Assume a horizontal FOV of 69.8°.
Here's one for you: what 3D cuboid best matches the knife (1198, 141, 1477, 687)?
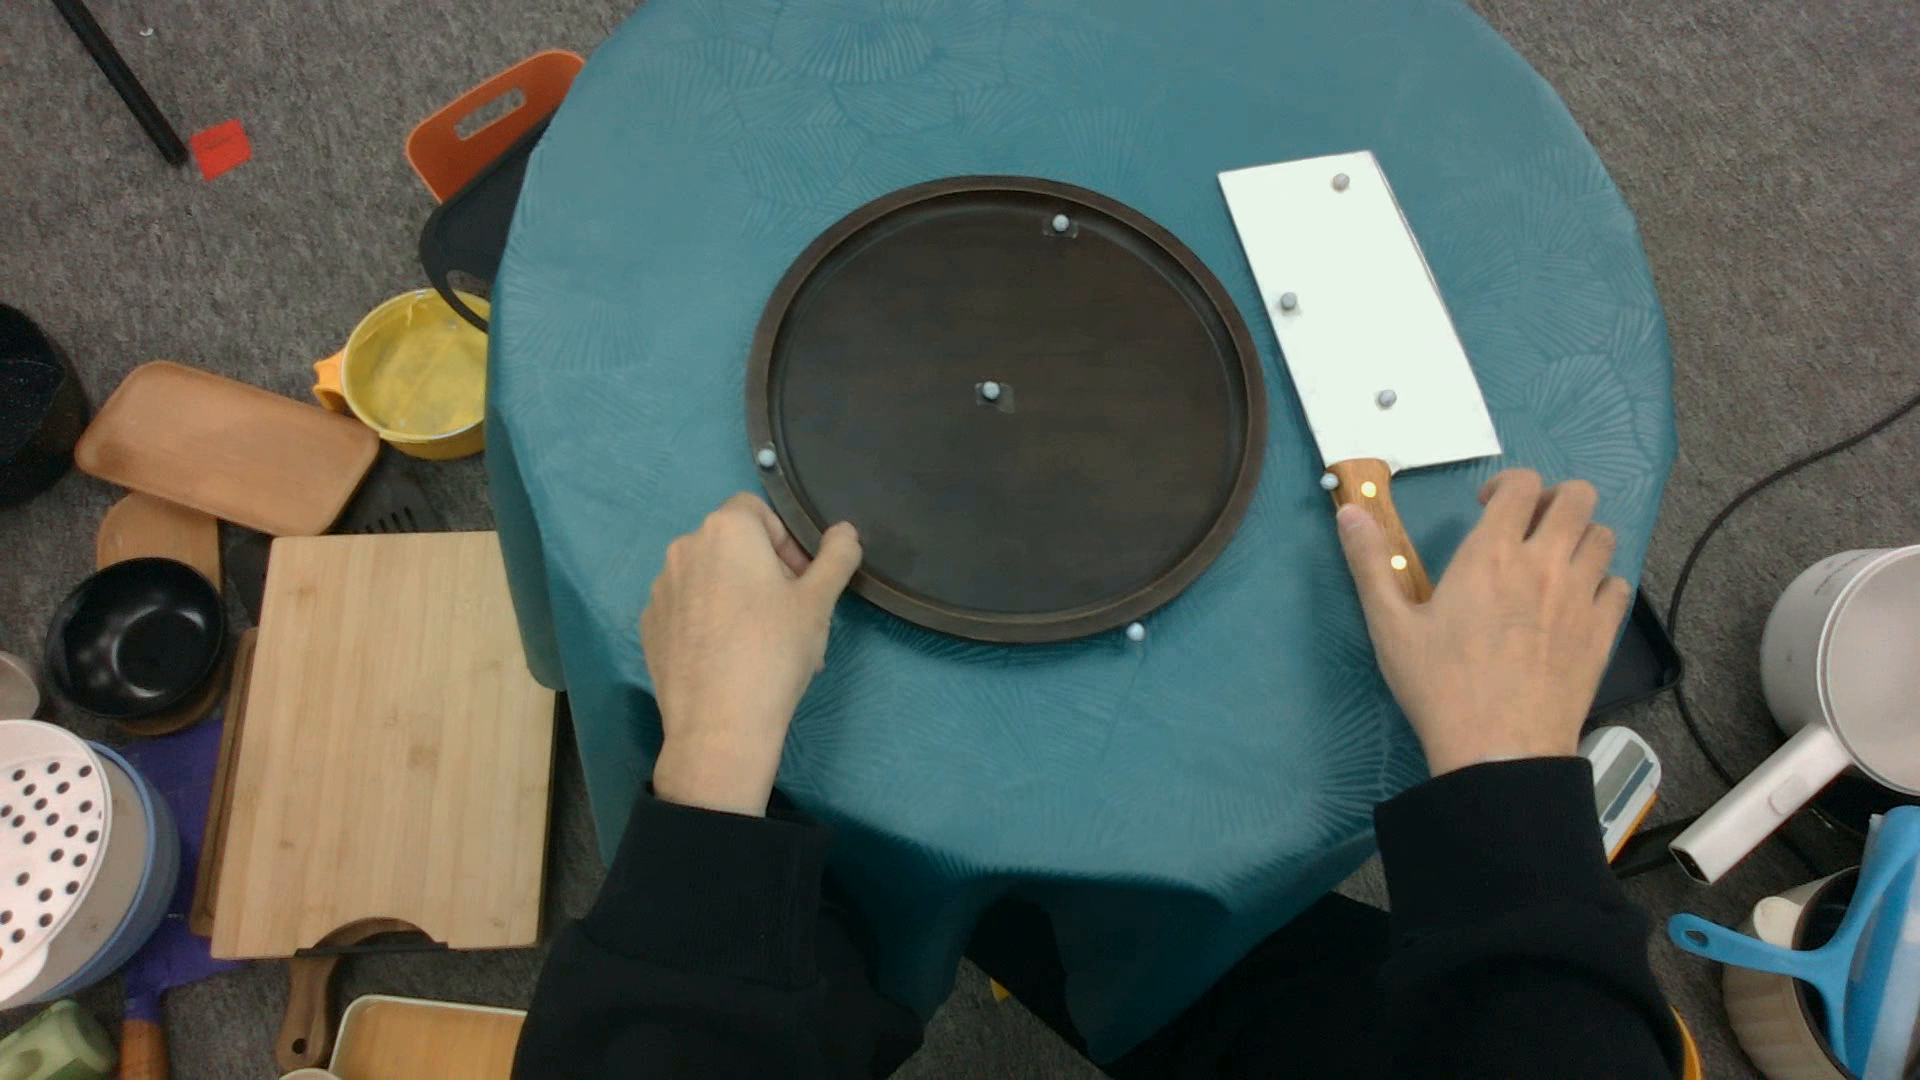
[{"bbox_3d":[0.203,-0.077,0.686,0.093,0.021,0.306,-10,67,-10],"label":"knife"}]

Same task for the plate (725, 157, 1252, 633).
[{"bbox_3d":[0.015,-0.074,0.665,0.255,0.029,0.255,1,67,-2],"label":"plate"}]
